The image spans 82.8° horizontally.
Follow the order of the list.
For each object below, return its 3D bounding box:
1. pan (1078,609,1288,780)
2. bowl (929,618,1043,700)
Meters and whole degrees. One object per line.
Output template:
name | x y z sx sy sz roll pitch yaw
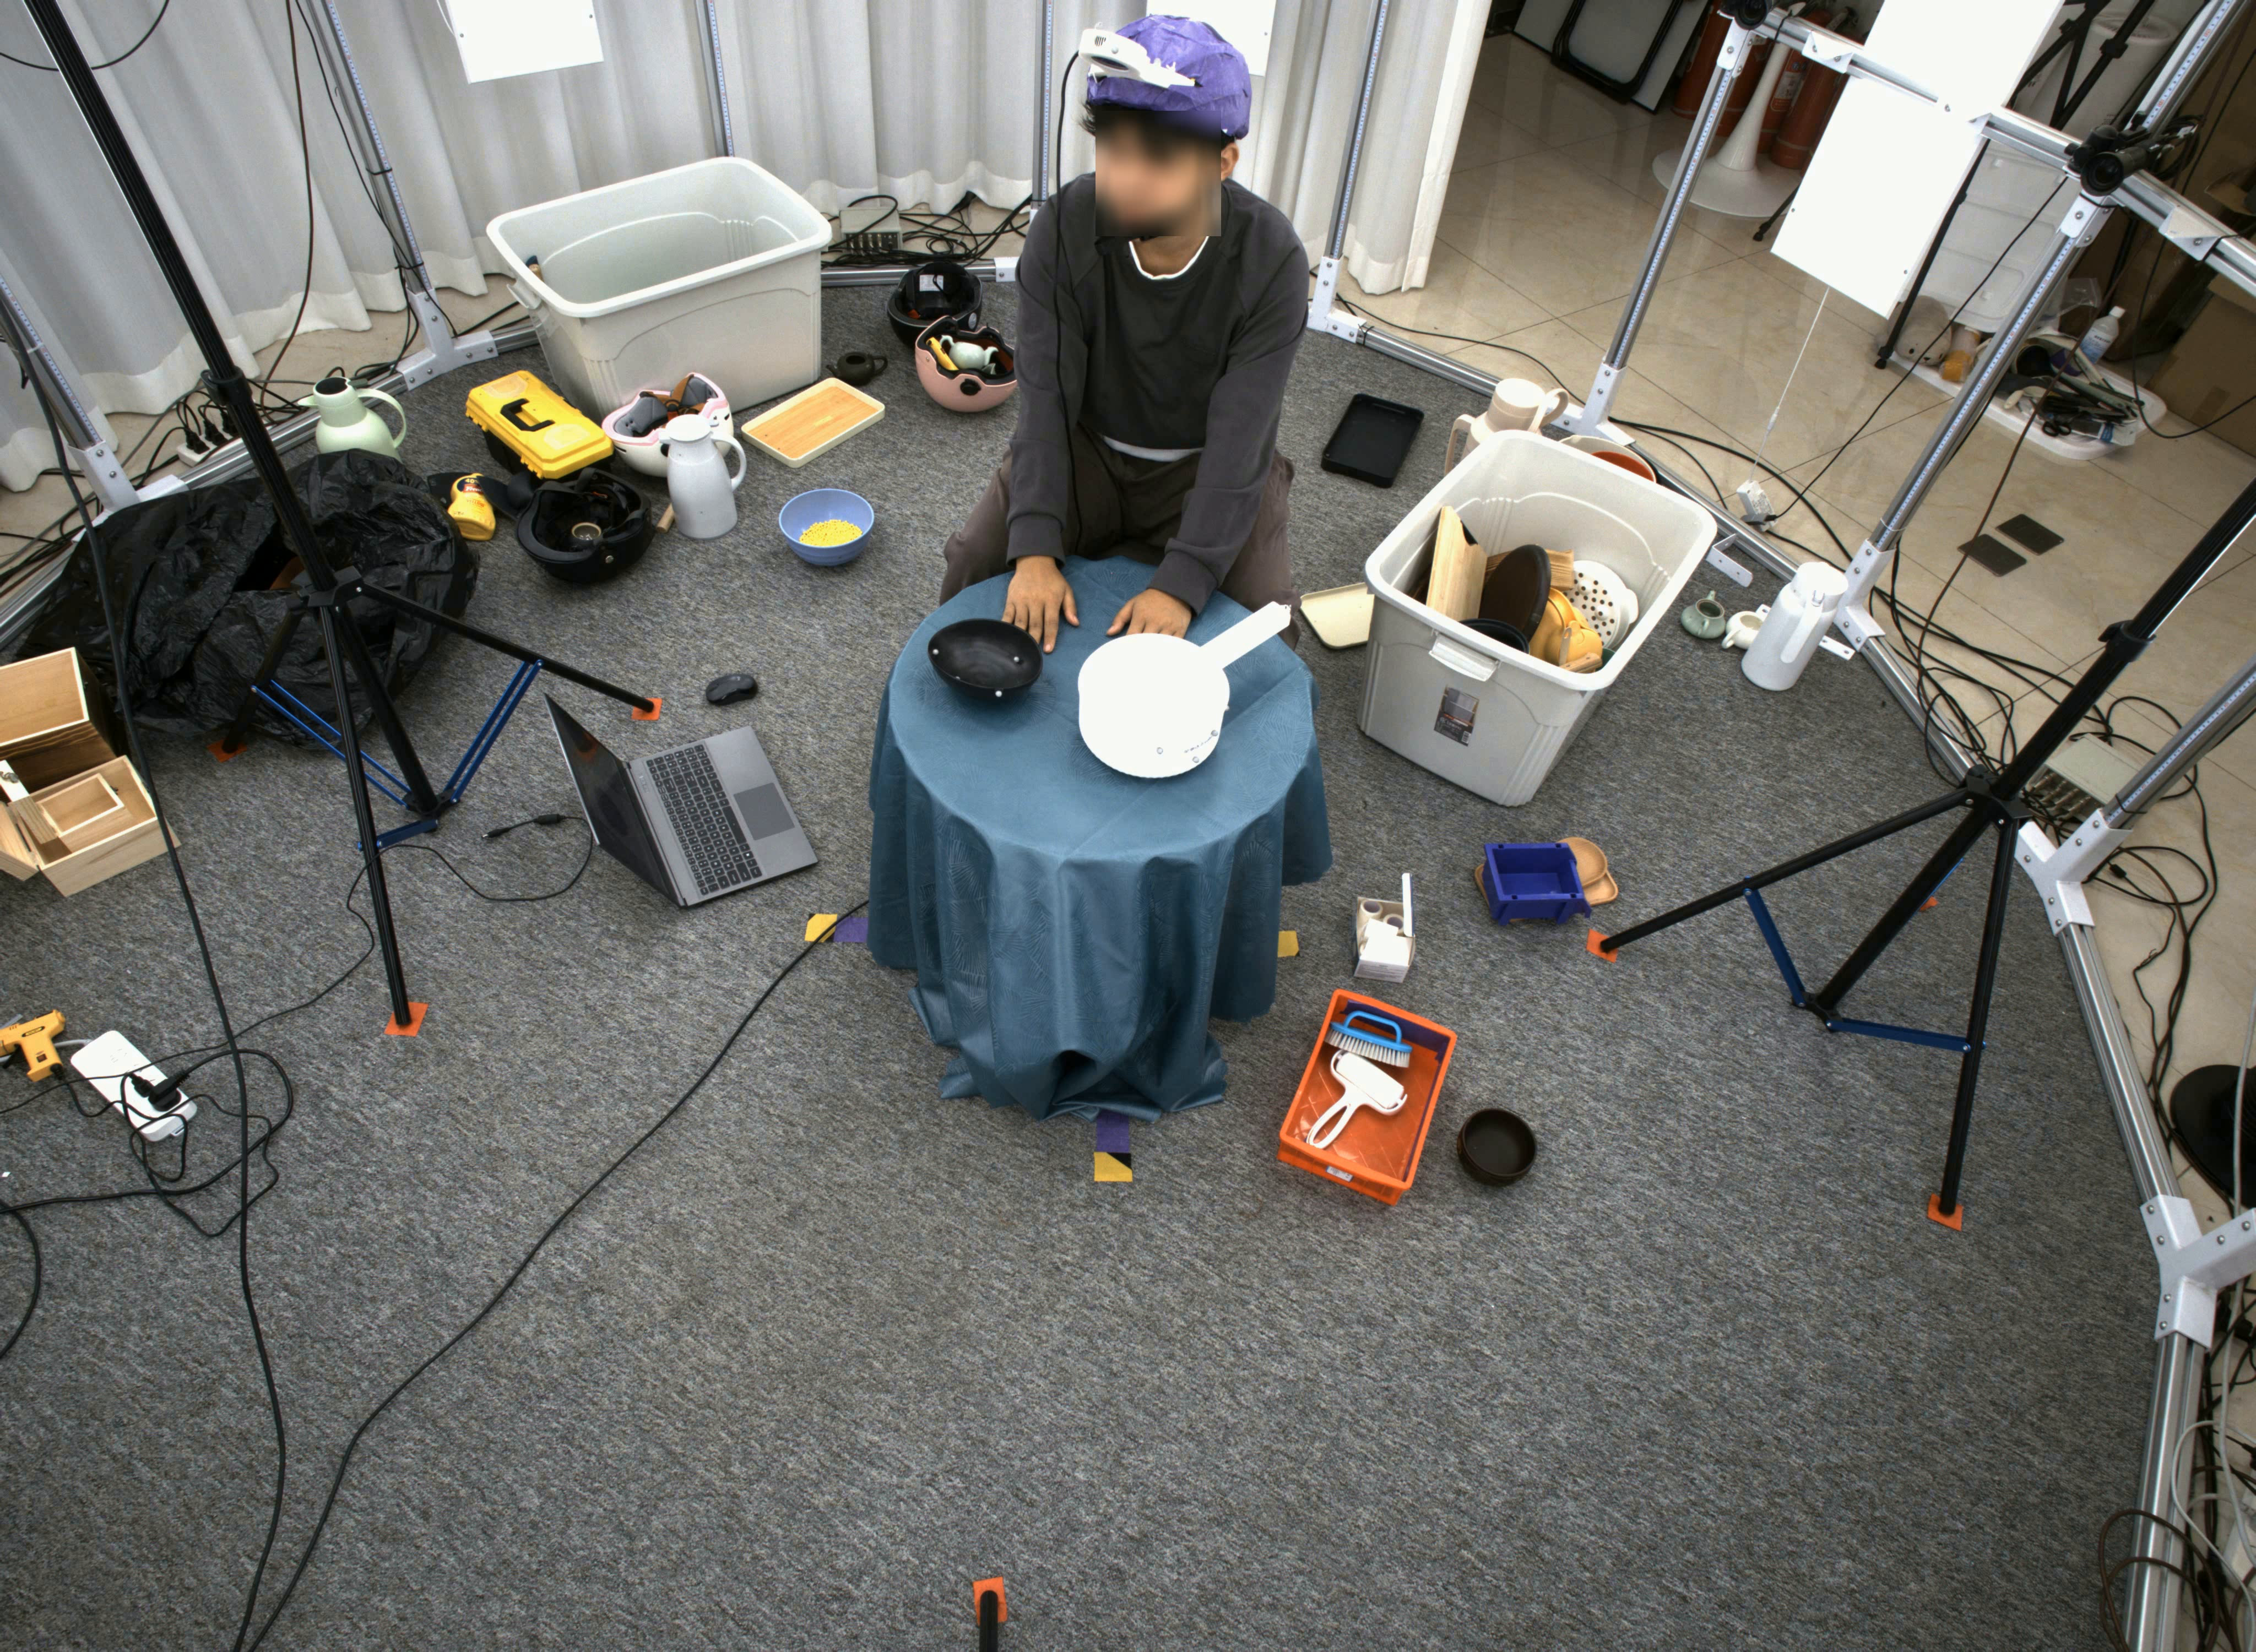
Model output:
pan | 0.087 -0.190 1.784 0.358 0.099 0.204 -33 55 -31
bowl | -0.200 -0.223 1.802 0.171 0.065 0.139 23 51 17
